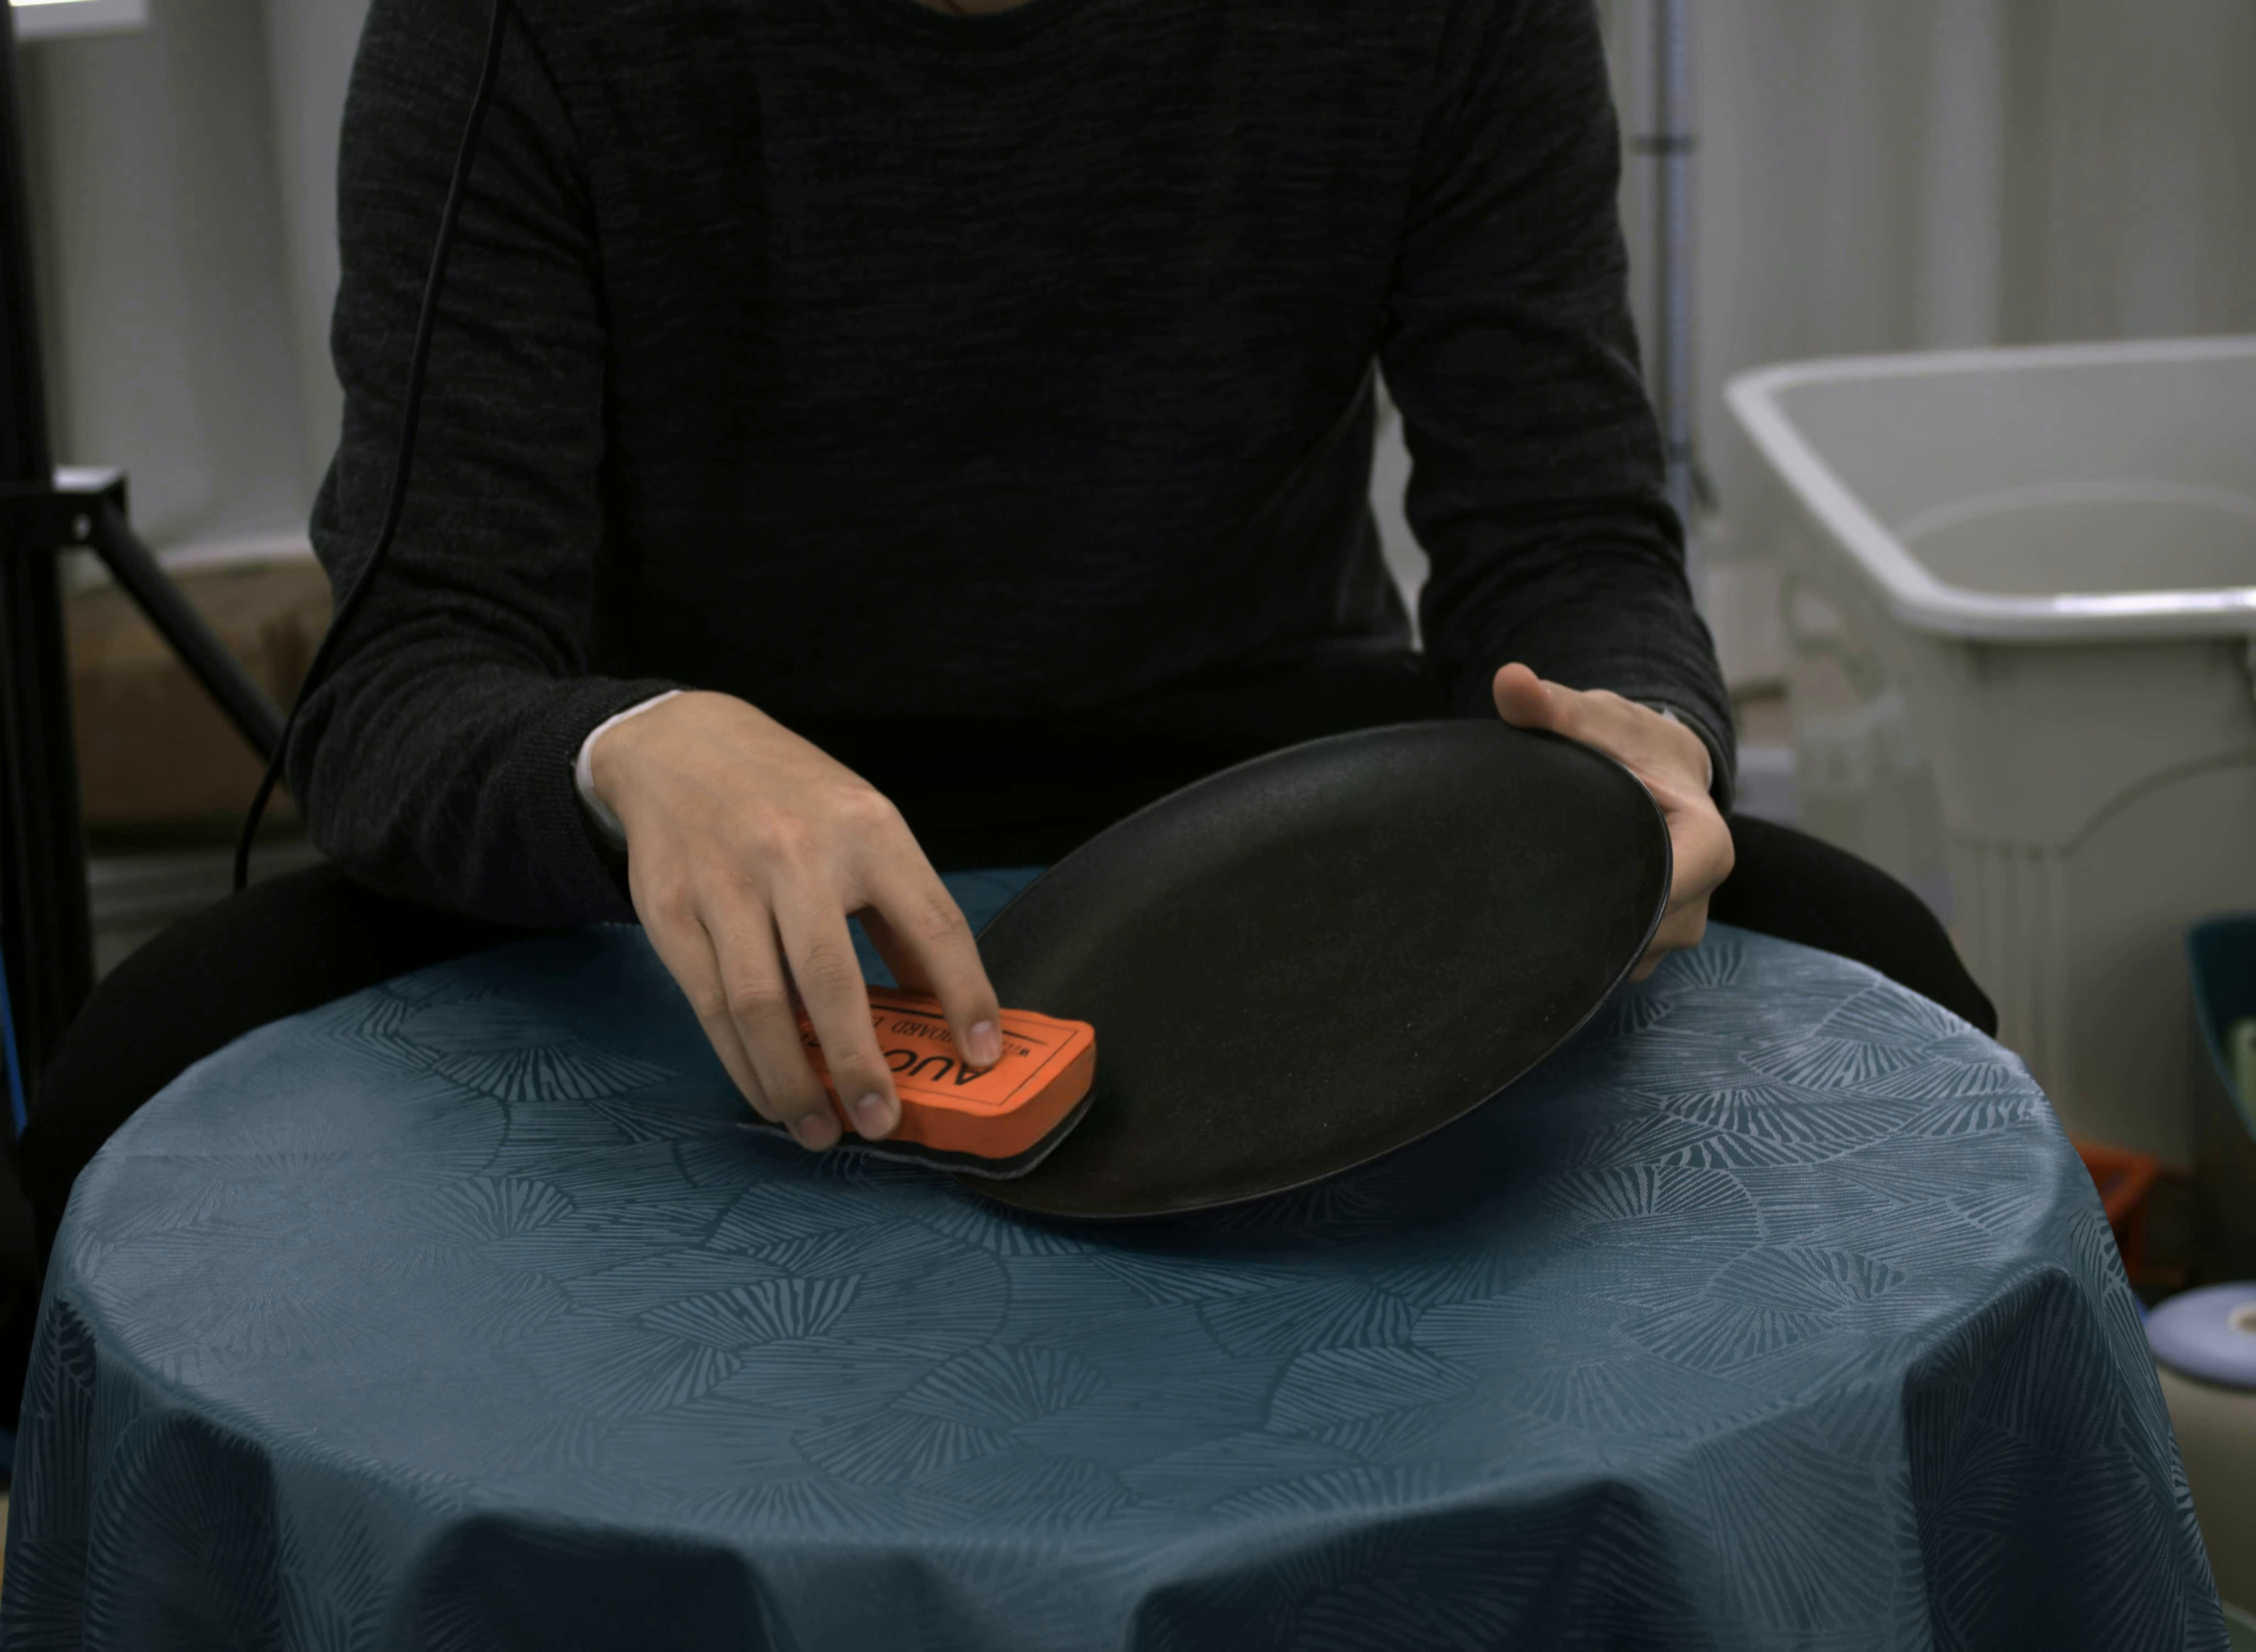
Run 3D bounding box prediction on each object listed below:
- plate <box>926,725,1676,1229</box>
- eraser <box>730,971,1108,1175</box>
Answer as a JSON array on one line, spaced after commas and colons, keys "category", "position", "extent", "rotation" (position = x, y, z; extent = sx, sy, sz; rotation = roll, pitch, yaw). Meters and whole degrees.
[{"category": "plate", "position": [0.050, 0.048, 1.593], "extent": [0.245, 0.023, 0.246], "rotation": [-19, 29, 9]}, {"category": "eraser", "position": [-0.062, 0.073, 1.593], "extent": [0.110, 0.023, 0.058], "rotation": [10, 33, 34]}]
